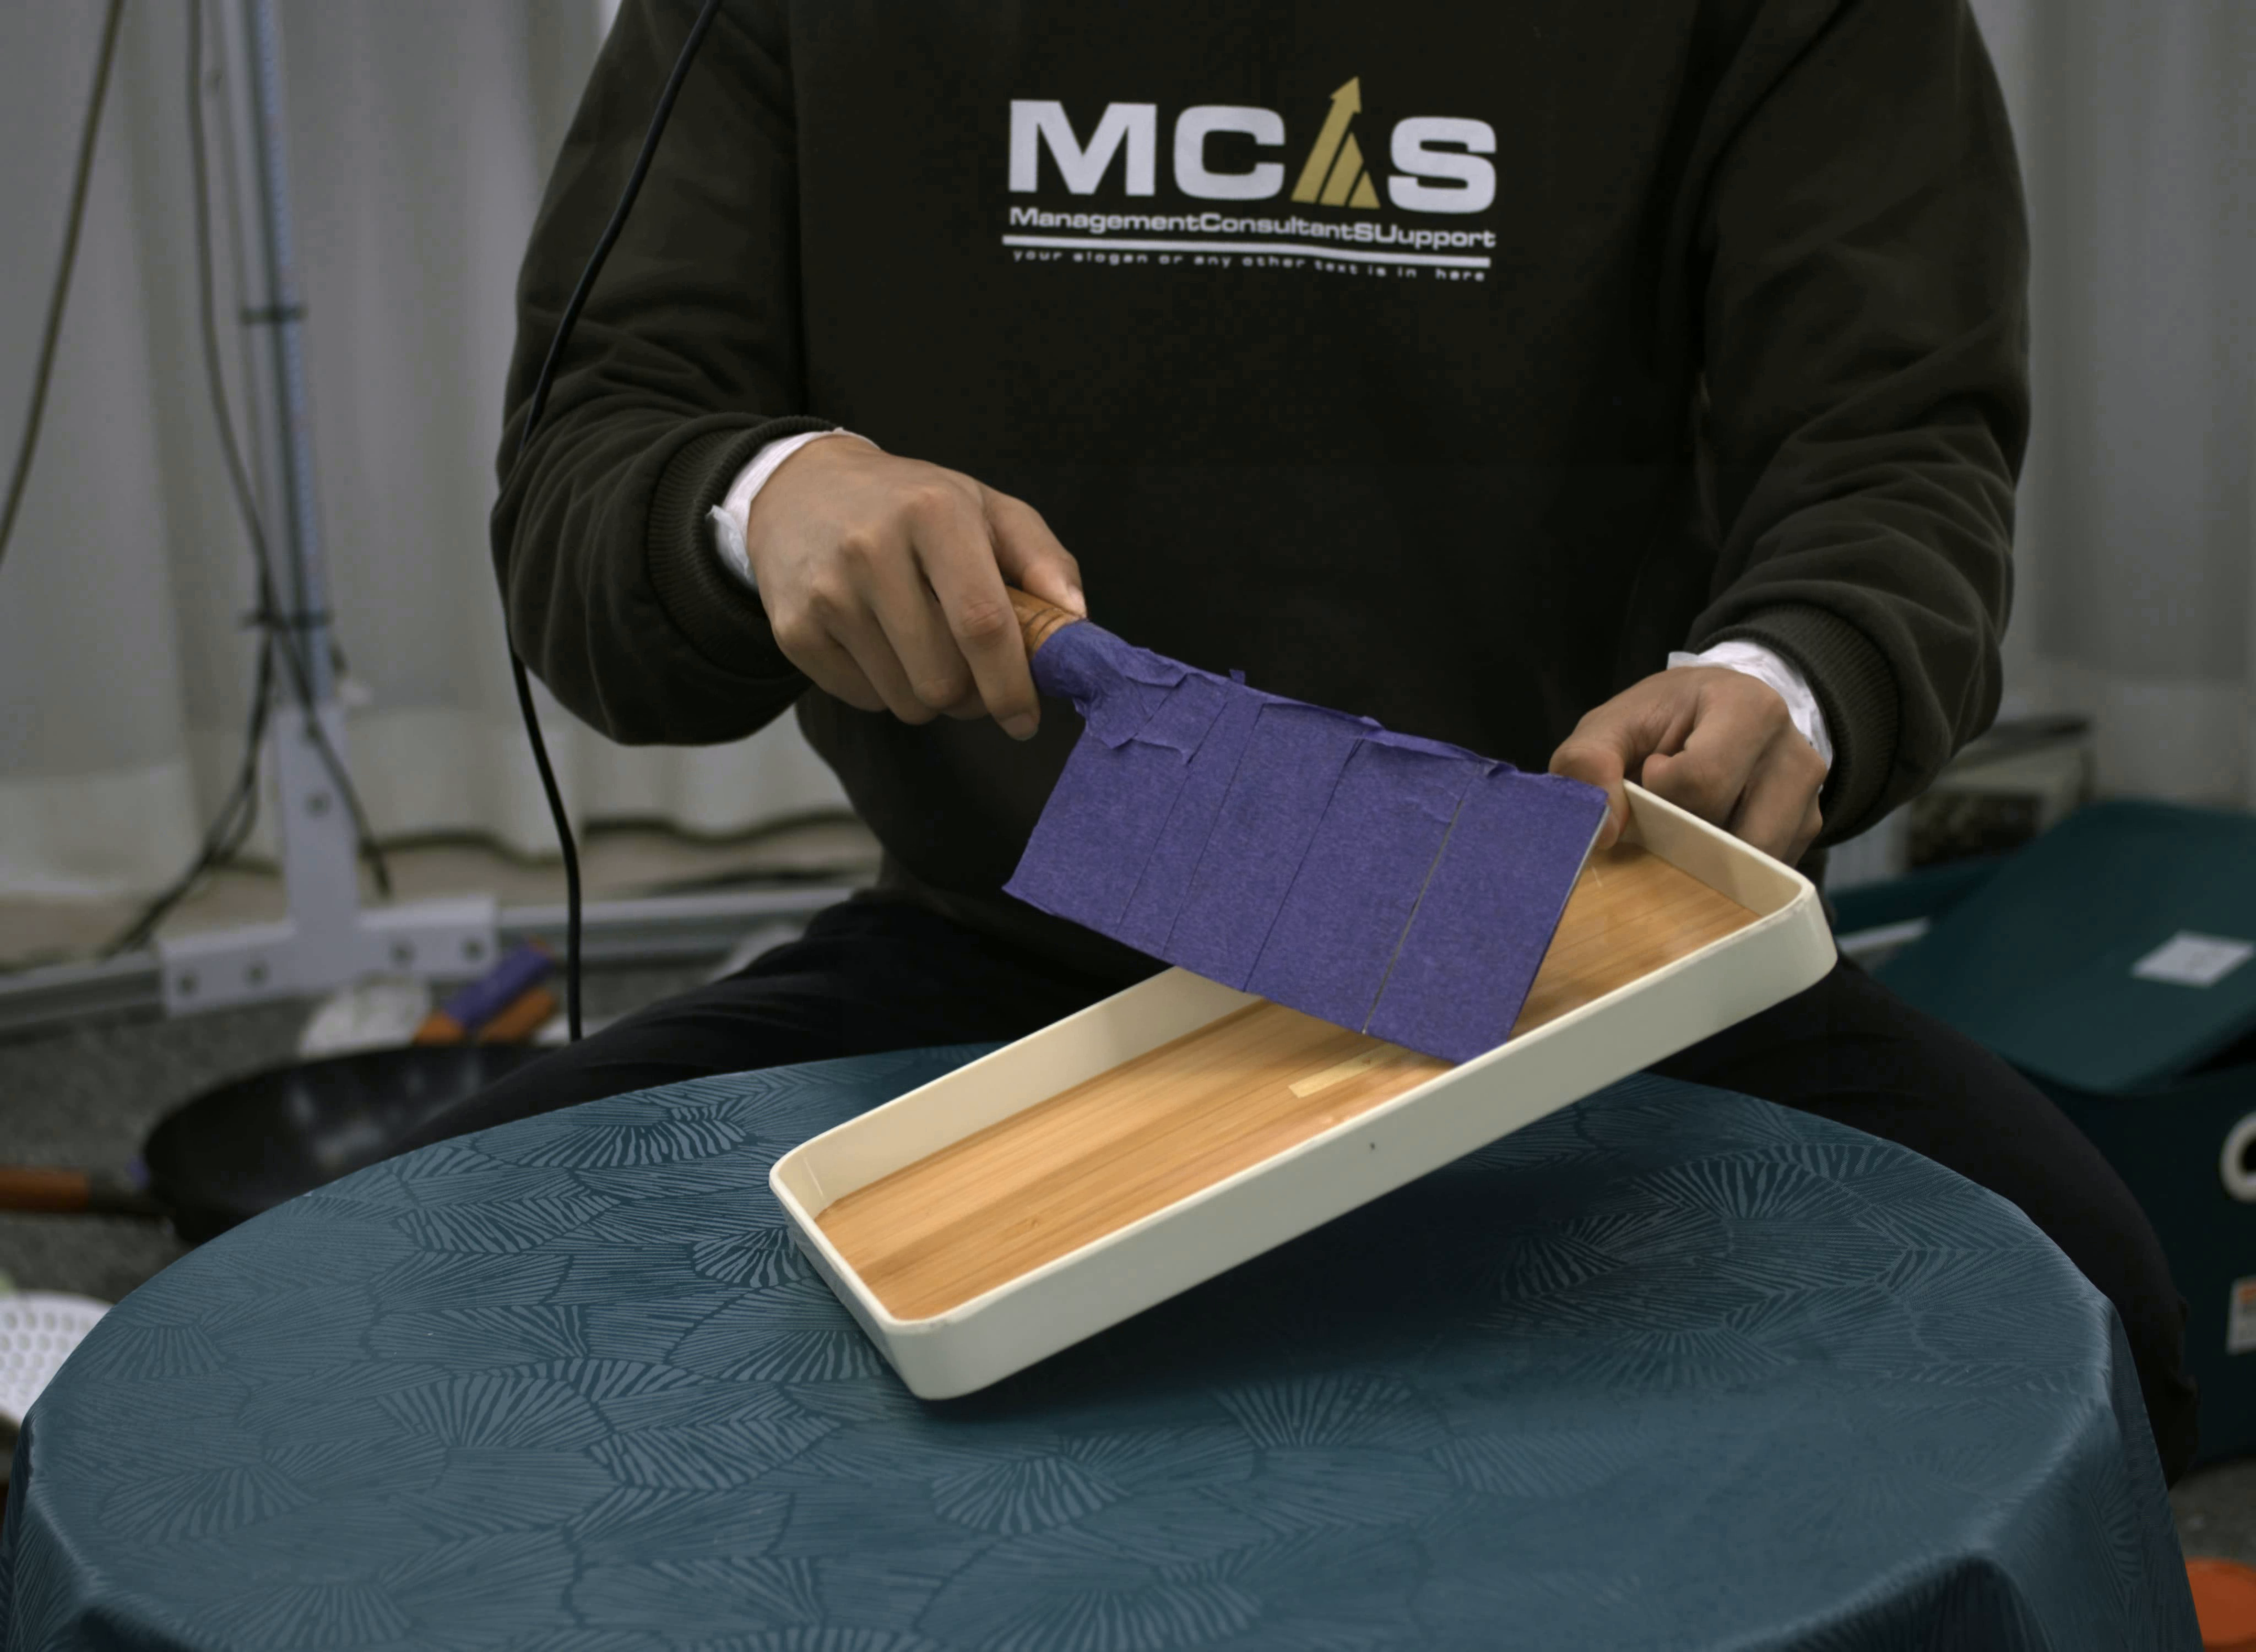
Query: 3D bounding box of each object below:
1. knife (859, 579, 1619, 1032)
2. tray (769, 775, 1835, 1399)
[{"bbox_3d":[0.014,-0.009,1.697,0.317,0.104,0.032,17,-13,45],"label":"knife"},{"bbox_3d":[0.047,0.073,1.630,0.300,0.027,0.193,-25,17,-9],"label":"tray"}]
